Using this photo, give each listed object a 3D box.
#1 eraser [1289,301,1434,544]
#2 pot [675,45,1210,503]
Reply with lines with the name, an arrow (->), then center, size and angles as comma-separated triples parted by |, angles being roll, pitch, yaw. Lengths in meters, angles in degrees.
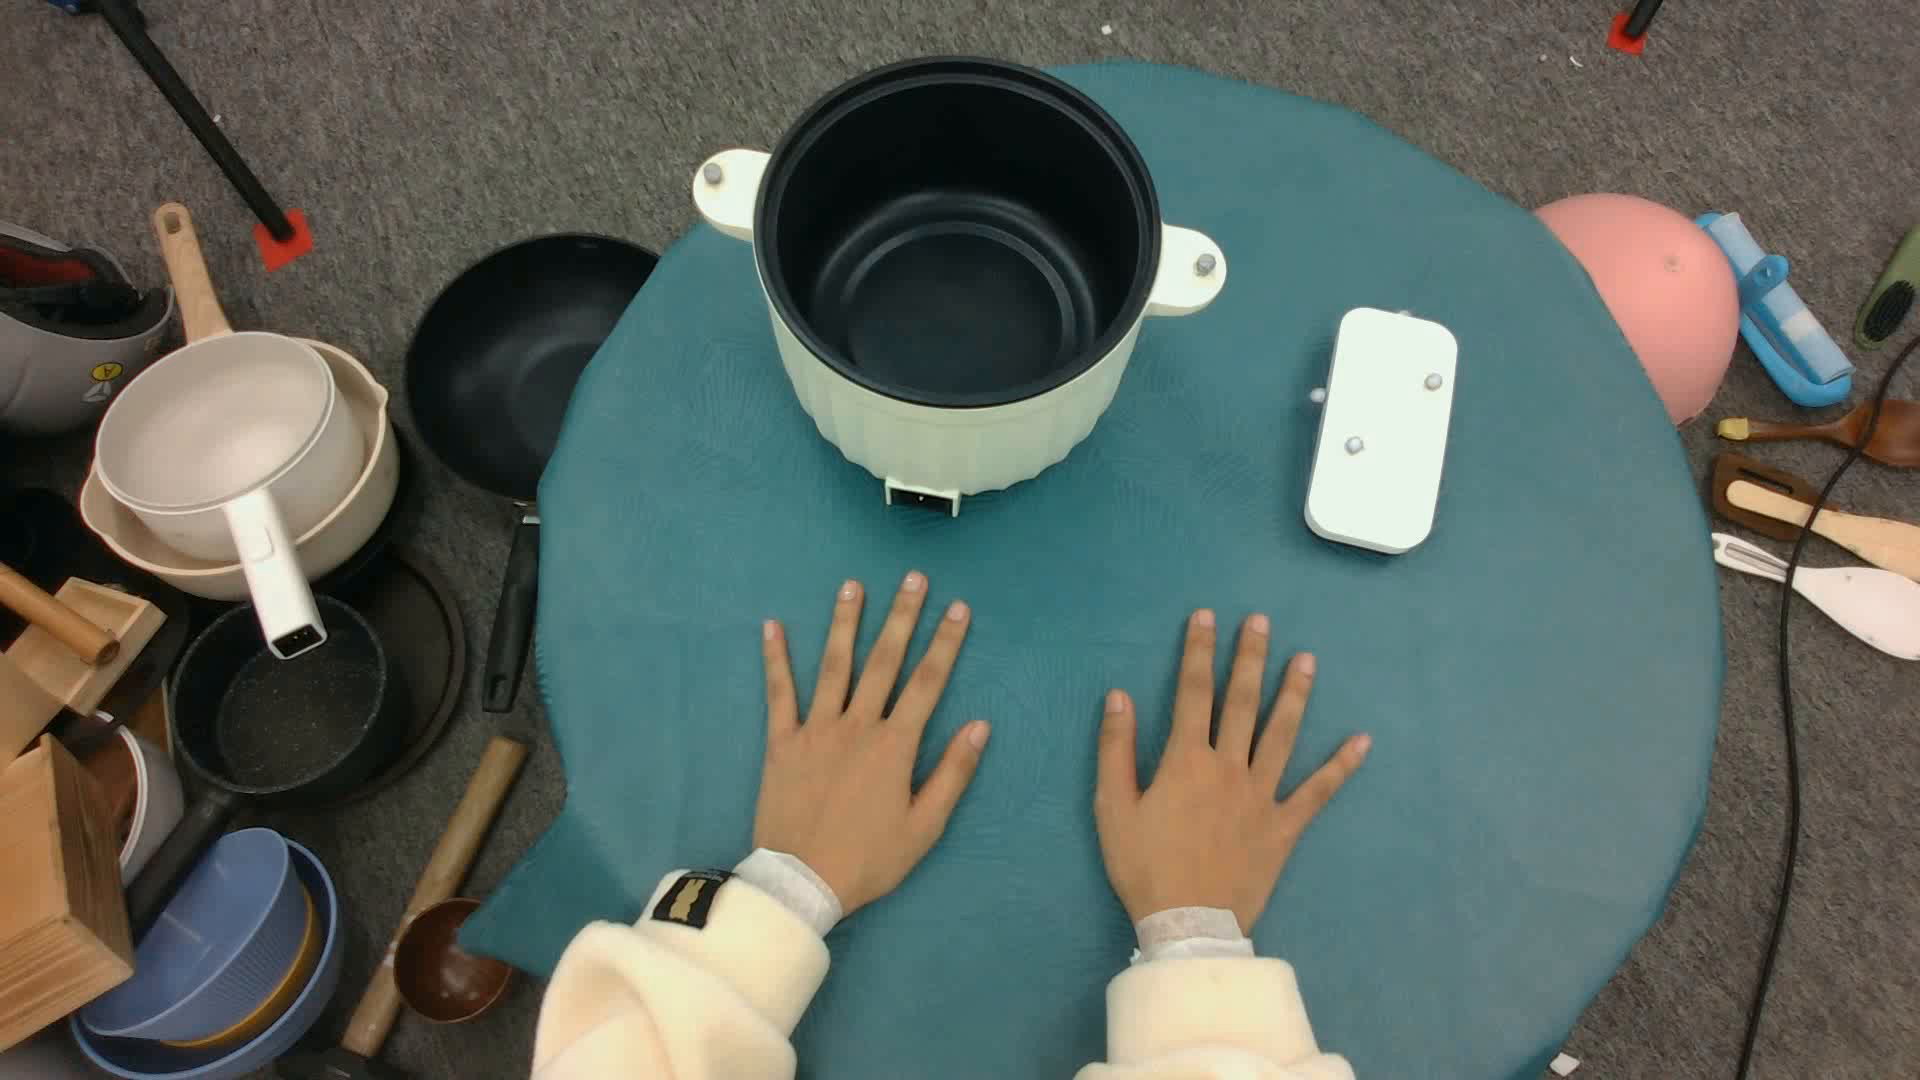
eraser -> 0.207, -0.063, 0.714 | 0.063, 0.034, 0.132 | 13, 69, 5
pot -> -0.010, -0.128, 0.672 | 0.240, 0.142, 0.191 | 10, 72, 0
